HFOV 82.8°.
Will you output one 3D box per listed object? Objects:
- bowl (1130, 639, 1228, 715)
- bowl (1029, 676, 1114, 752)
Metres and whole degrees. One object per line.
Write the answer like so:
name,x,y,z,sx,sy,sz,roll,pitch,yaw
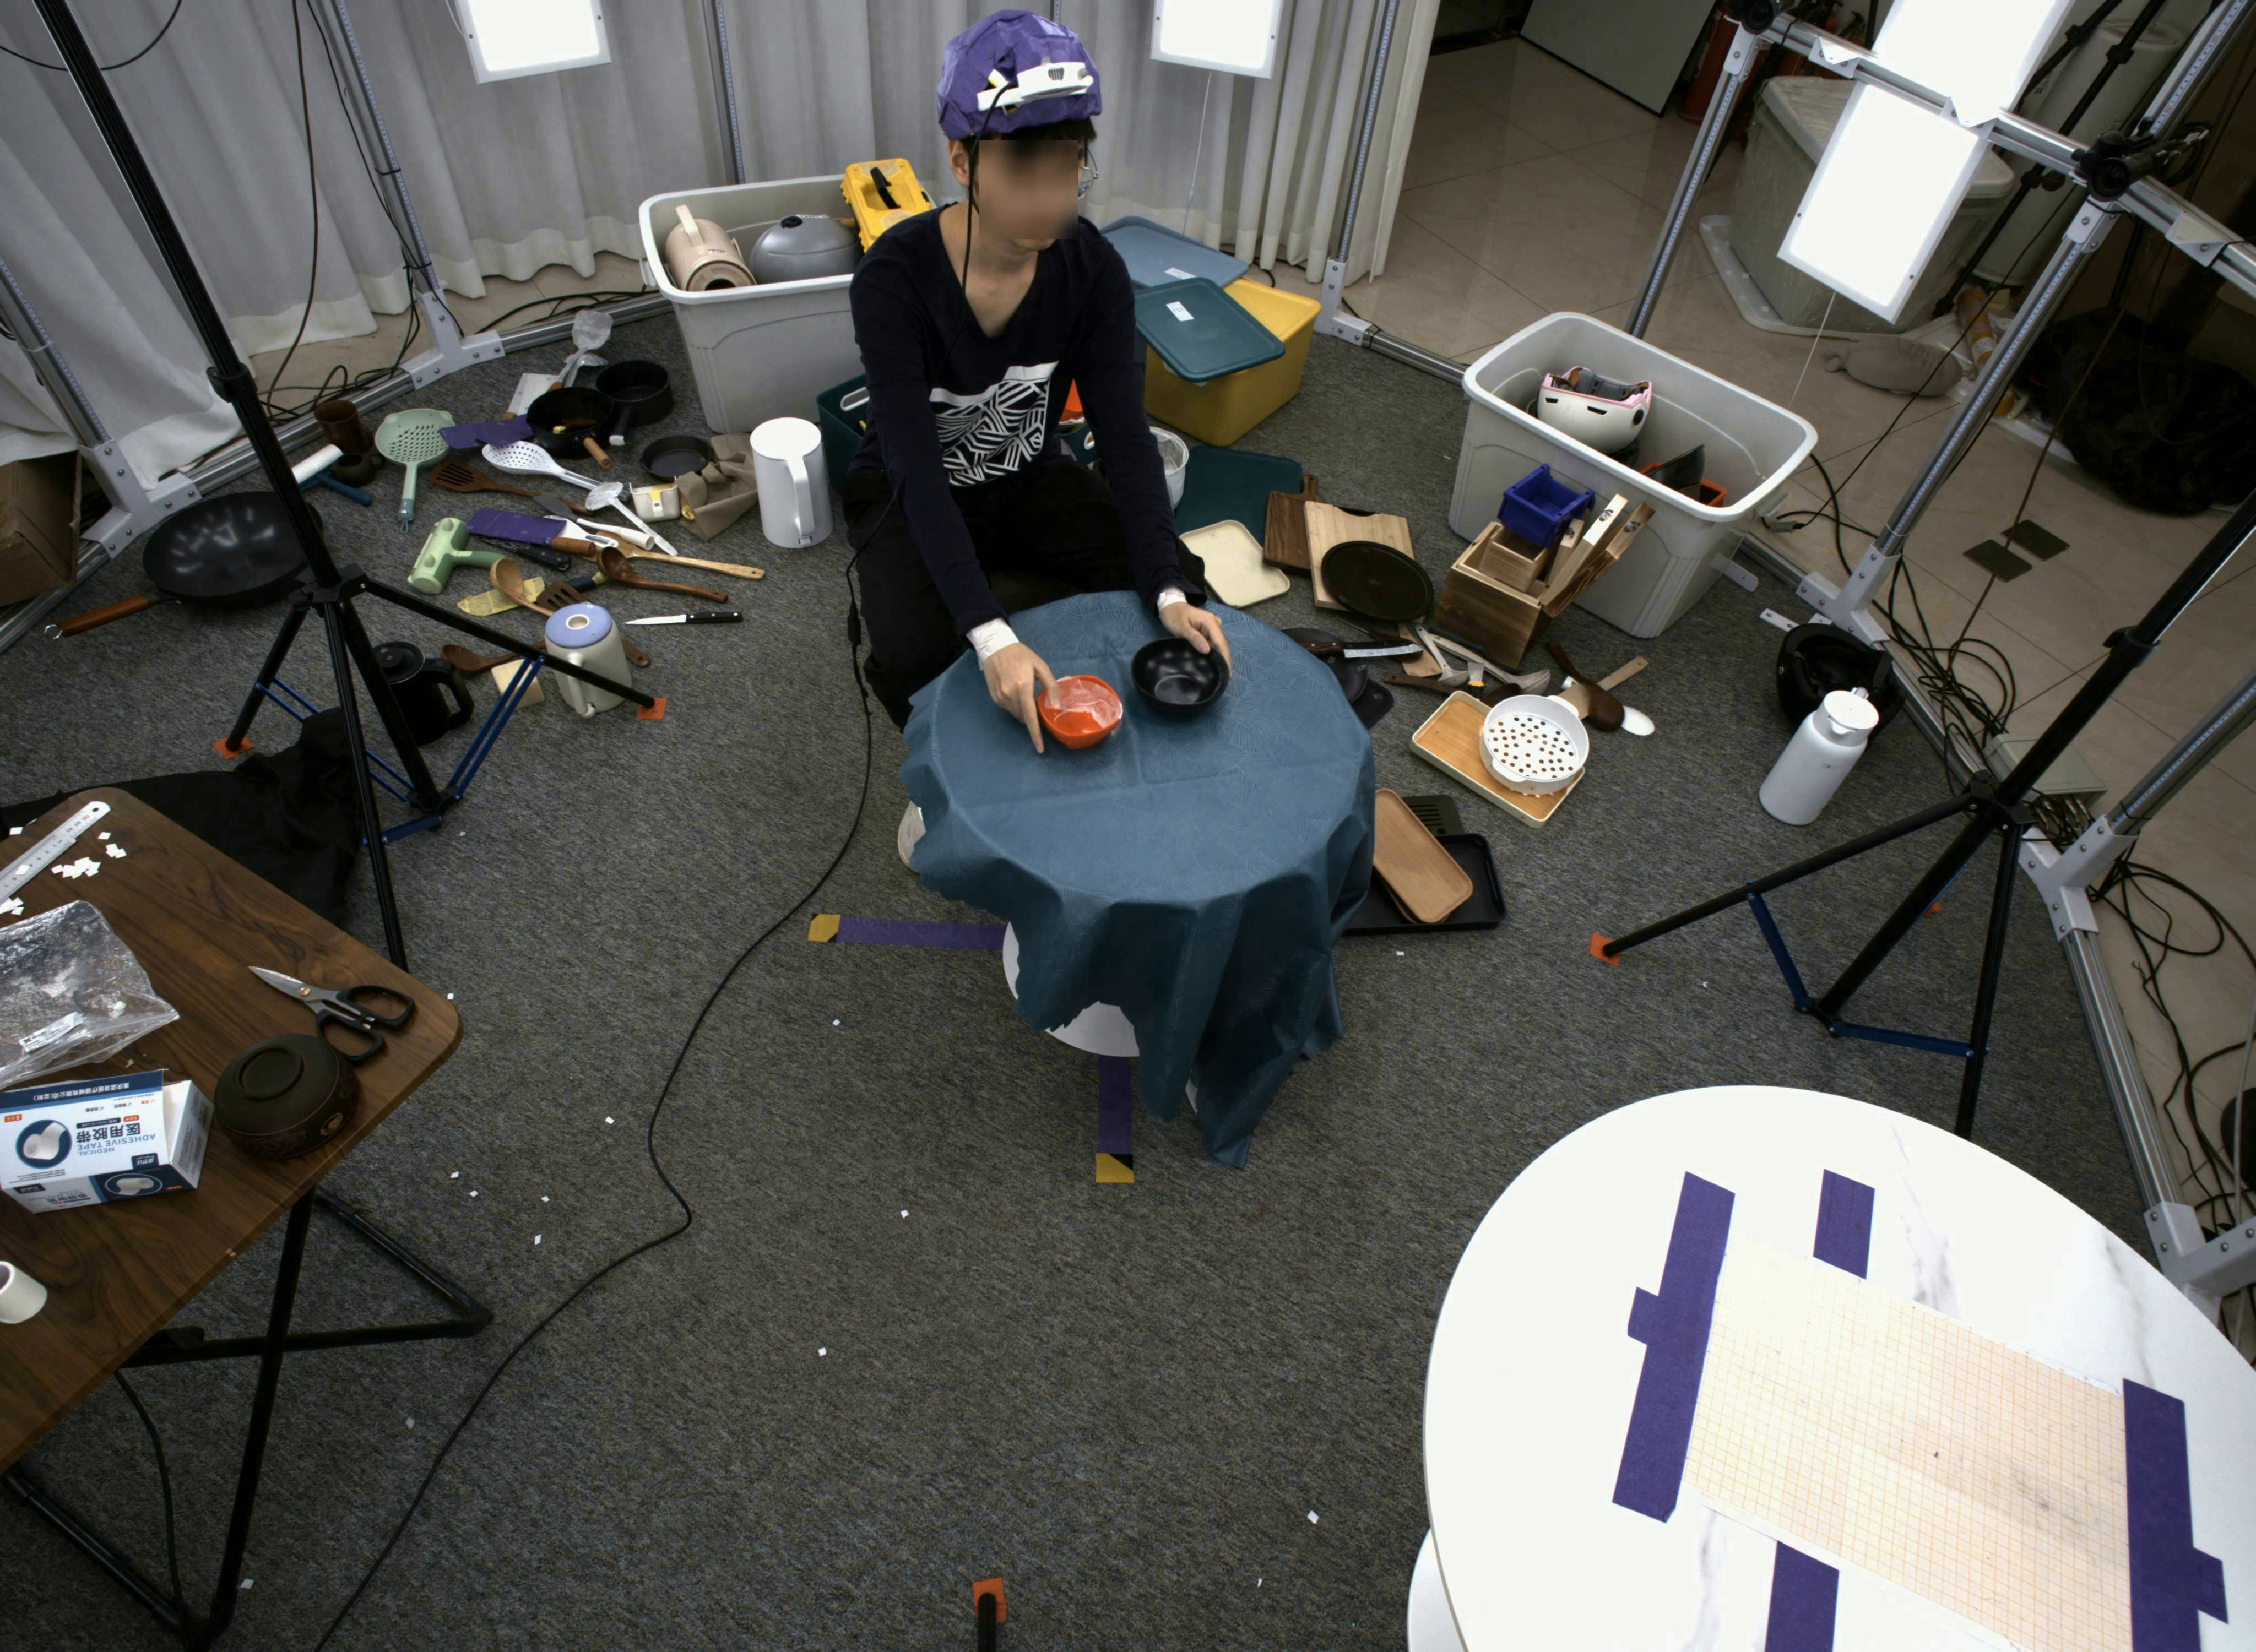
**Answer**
bowl,0.072,-0.203,1.819,0.140,0.048,0.143,1,46,-2
bowl,-0.078,-0.147,1.769,0.119,0.050,0.122,0,57,-1
